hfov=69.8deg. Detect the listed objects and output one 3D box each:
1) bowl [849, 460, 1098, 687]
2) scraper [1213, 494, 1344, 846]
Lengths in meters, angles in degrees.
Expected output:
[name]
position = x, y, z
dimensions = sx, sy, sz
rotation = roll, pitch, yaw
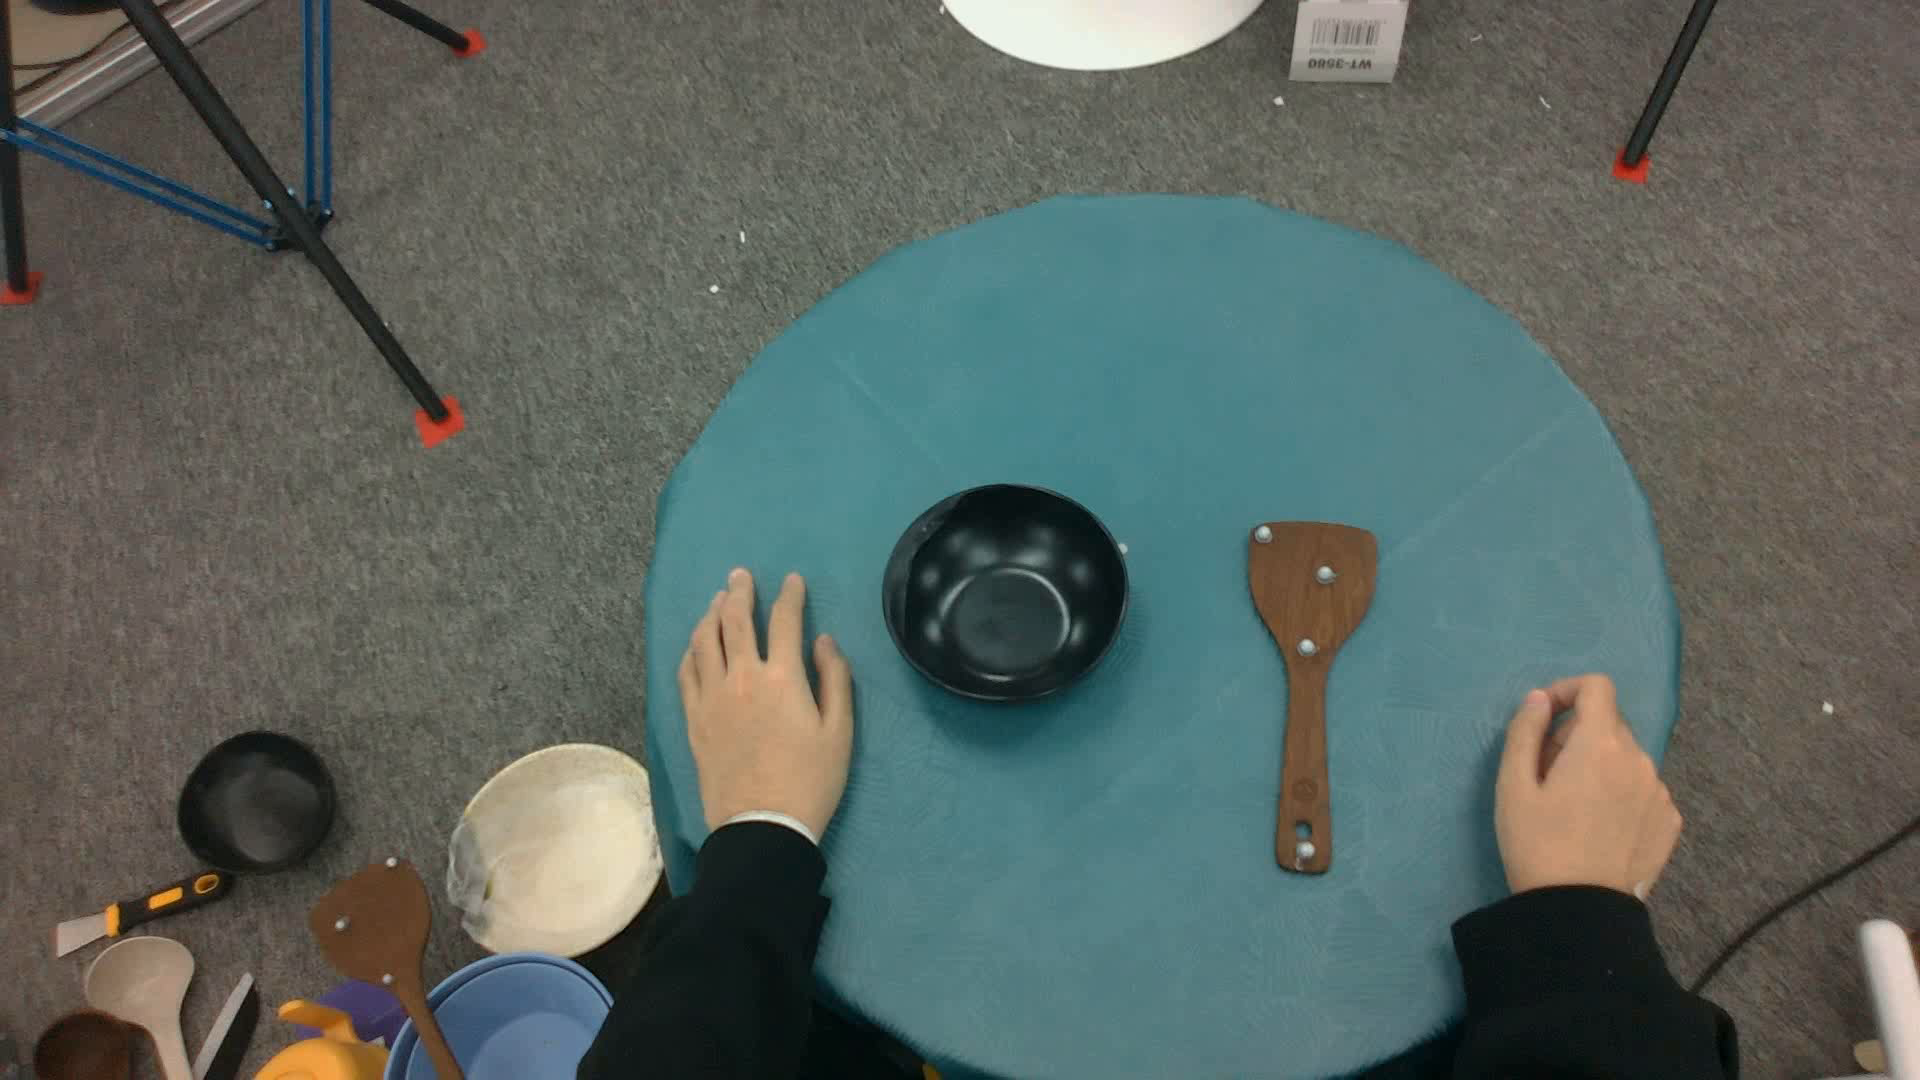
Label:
[bowl]
position = 0.007, 0.025, 0.784
dimensions = 0.140, 0.049, 0.140
rotation = 0, 61, 1
[scraper]
position = 0.177, 0.067, 0.771
dimensions = 0.076, 0.011, 0.212
rotation = 4, 62, 7
